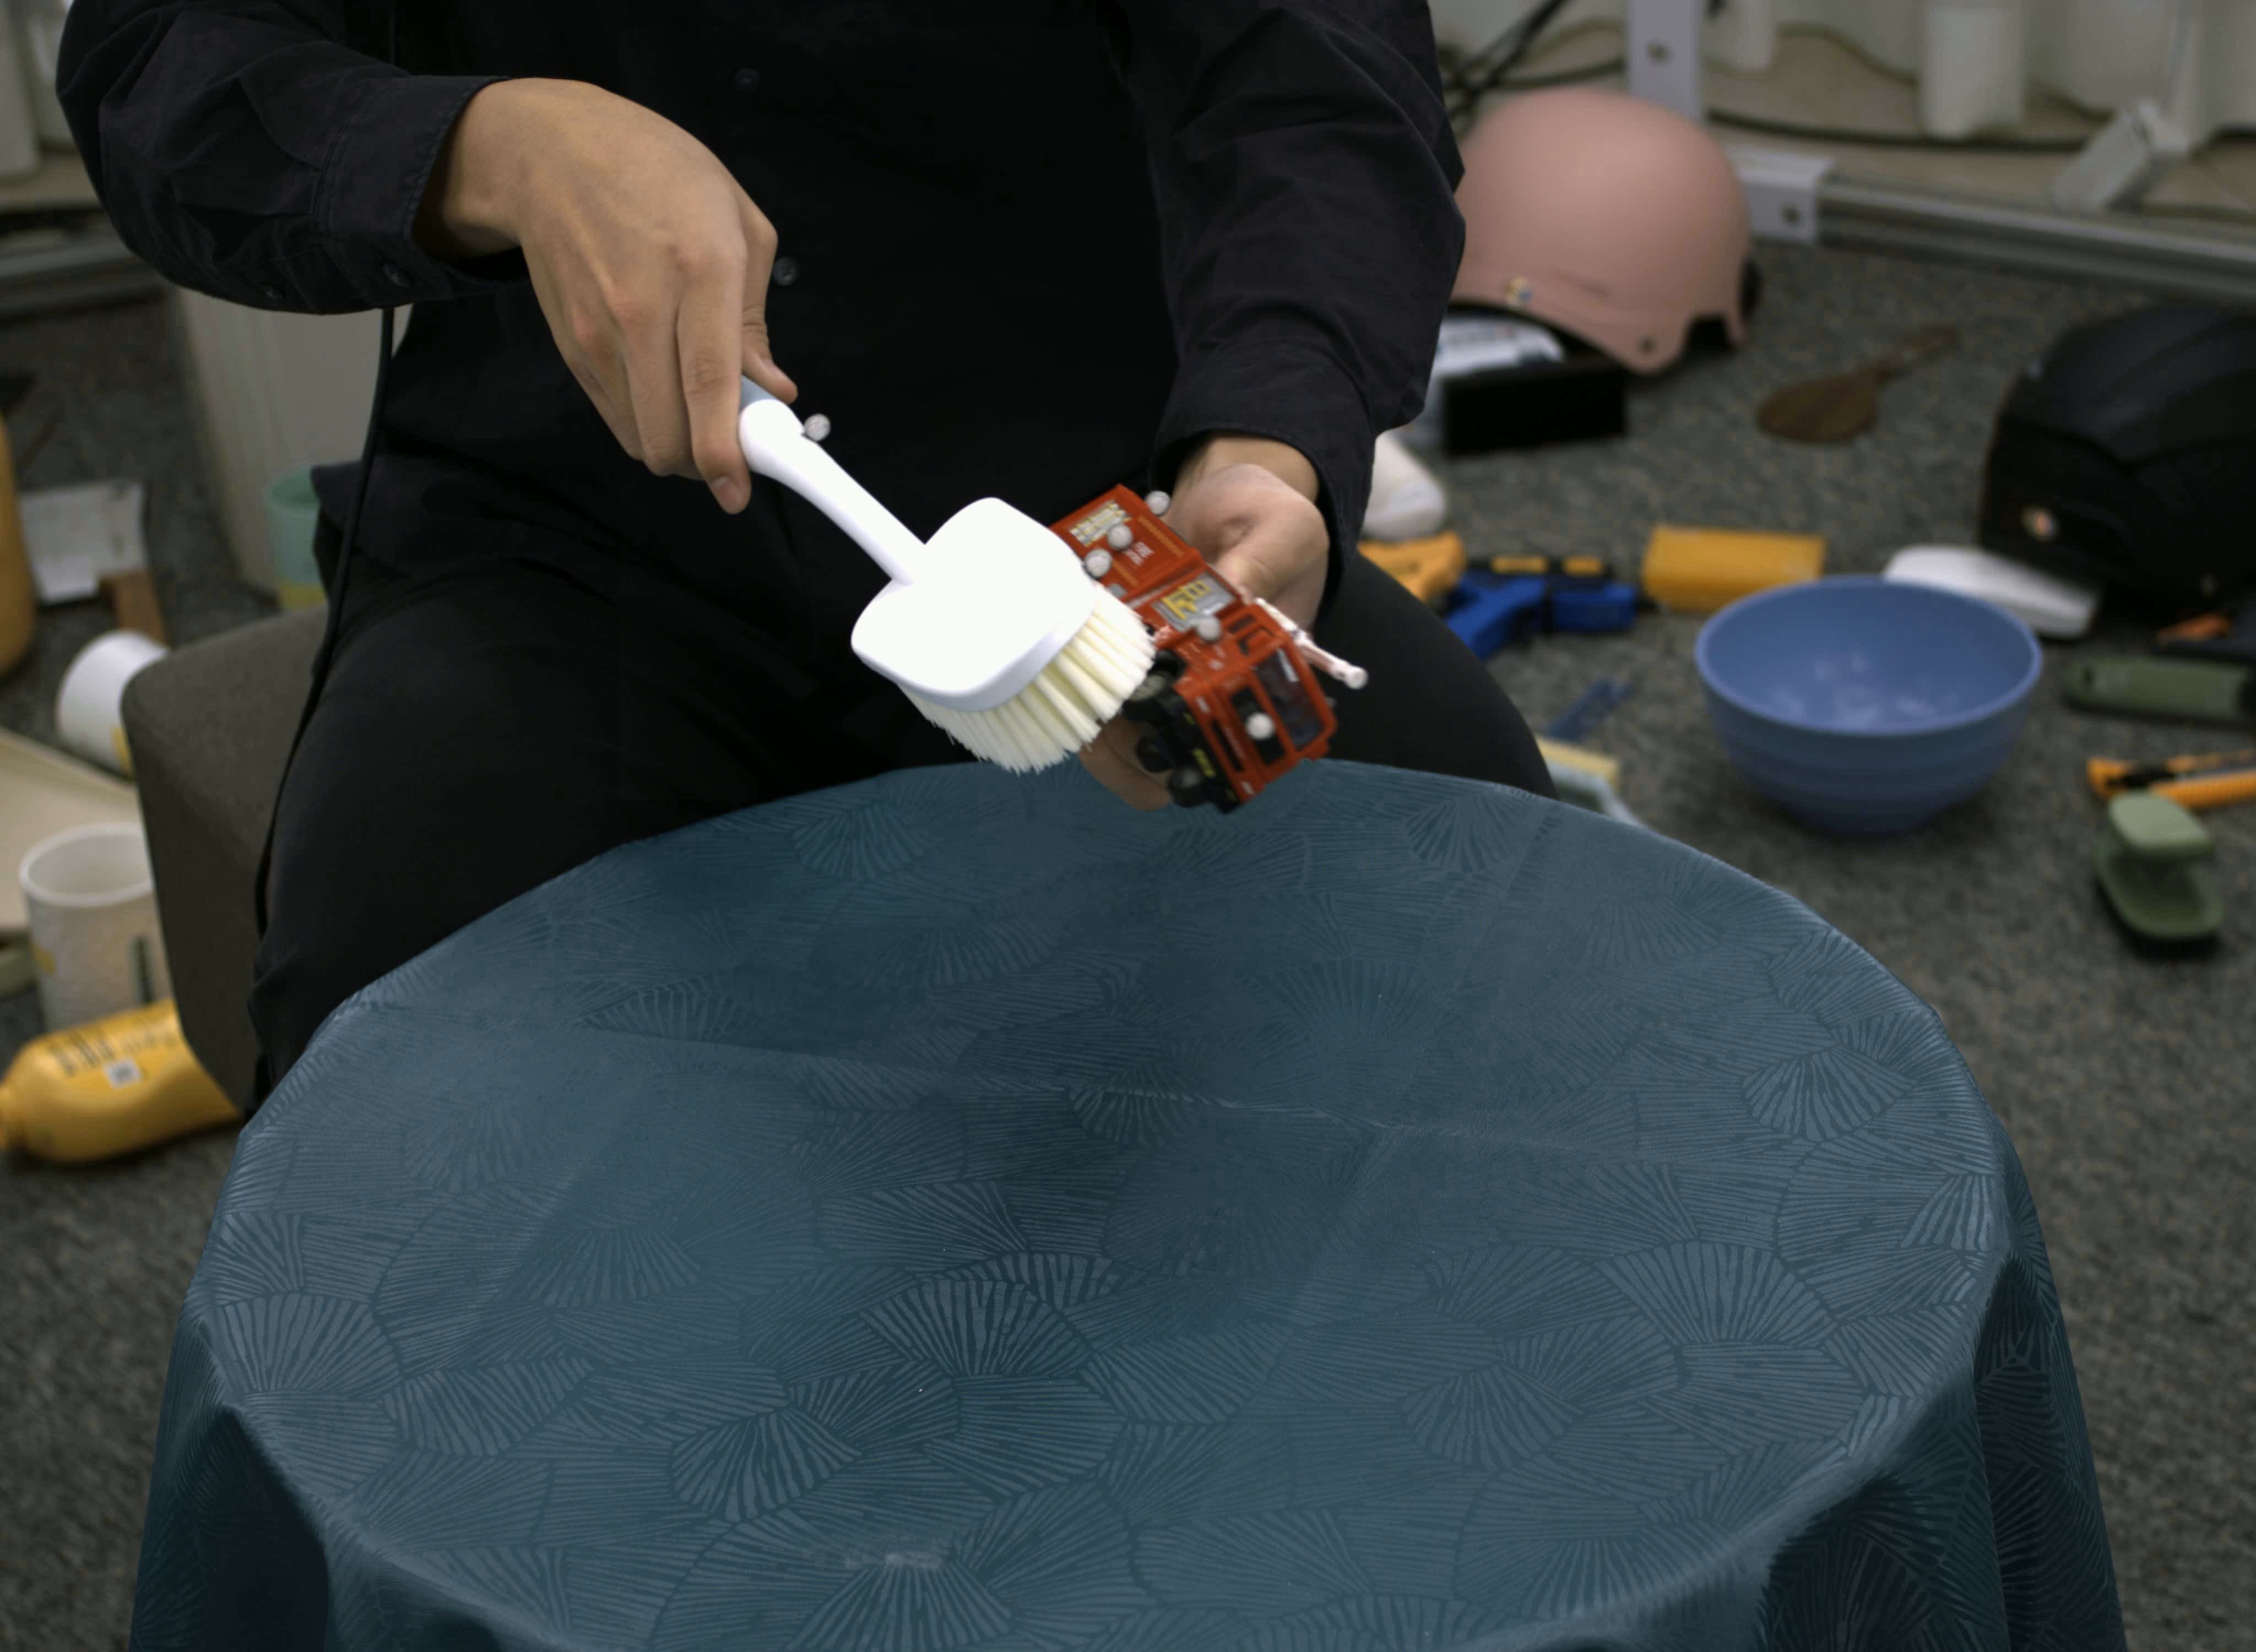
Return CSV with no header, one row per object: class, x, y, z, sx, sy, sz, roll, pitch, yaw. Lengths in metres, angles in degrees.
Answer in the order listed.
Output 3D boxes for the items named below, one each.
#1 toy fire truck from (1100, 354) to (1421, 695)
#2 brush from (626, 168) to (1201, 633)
toy fire truck,0.033,-0.098,1.792,0.070,0.053,0.169,-33,28,-7
brush,-0.065,-0.140,1.850,0.083,0.083,0.327,-17,31,-25
